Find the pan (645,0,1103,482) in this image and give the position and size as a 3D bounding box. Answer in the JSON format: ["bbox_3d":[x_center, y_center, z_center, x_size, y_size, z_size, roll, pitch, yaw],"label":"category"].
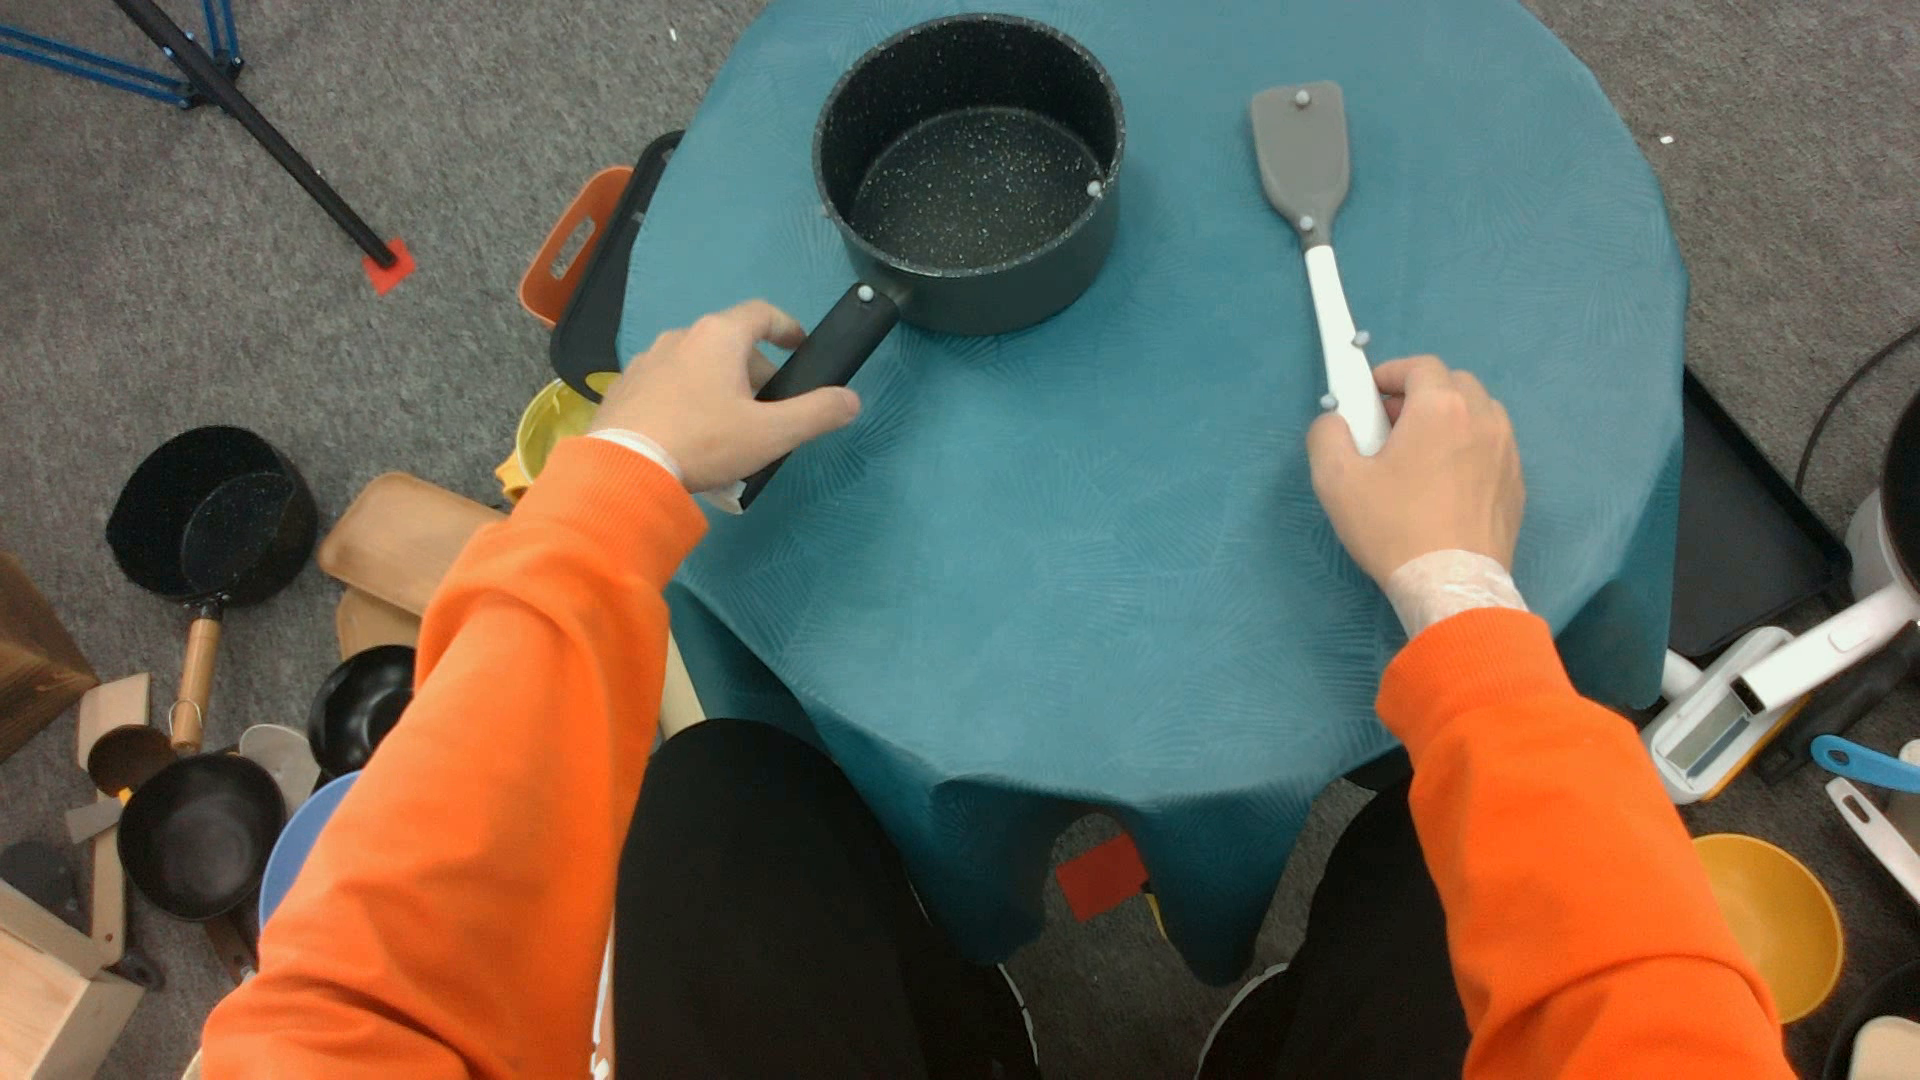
[{"bbox_3d":[-0.049,-0.152,0.754,0.172,0.086,0.329,30,73,17],"label":"pan"}]

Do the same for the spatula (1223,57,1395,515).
[{"bbox_3d":[0.191,-0.148,0.752,0.058,0.032,0.288,-8,64,8],"label":"spatula"}]
